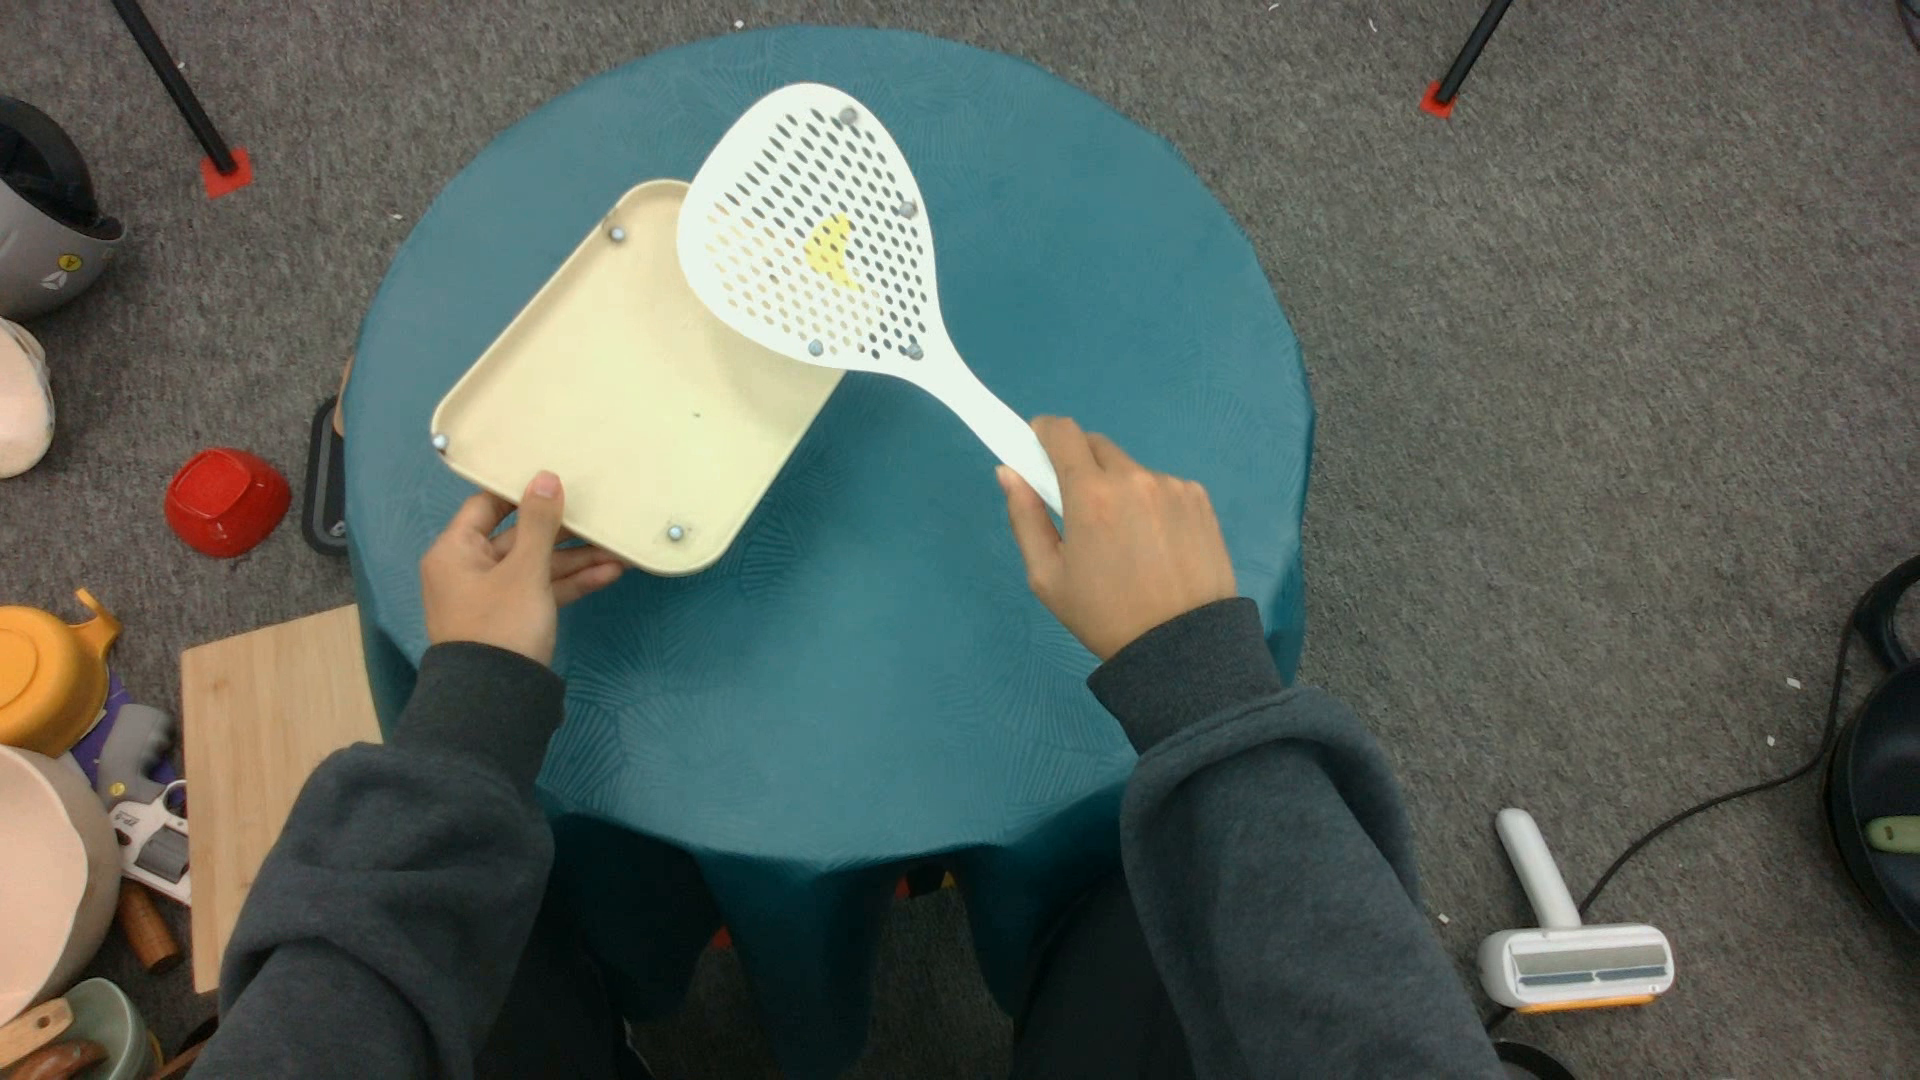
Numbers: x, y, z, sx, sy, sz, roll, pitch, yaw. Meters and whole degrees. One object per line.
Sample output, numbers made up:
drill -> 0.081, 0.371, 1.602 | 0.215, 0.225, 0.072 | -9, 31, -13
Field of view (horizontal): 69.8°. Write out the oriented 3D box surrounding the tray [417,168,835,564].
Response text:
tray -> -0.172, -0.104, 0.776 | 0.171, 0.017, 0.241 | 28, 58, 1

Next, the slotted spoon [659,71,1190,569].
slotted spoon -> -0.019, -0.103, 0.700 | 0.136, 0.050, 0.348 | -47, 67, 8
